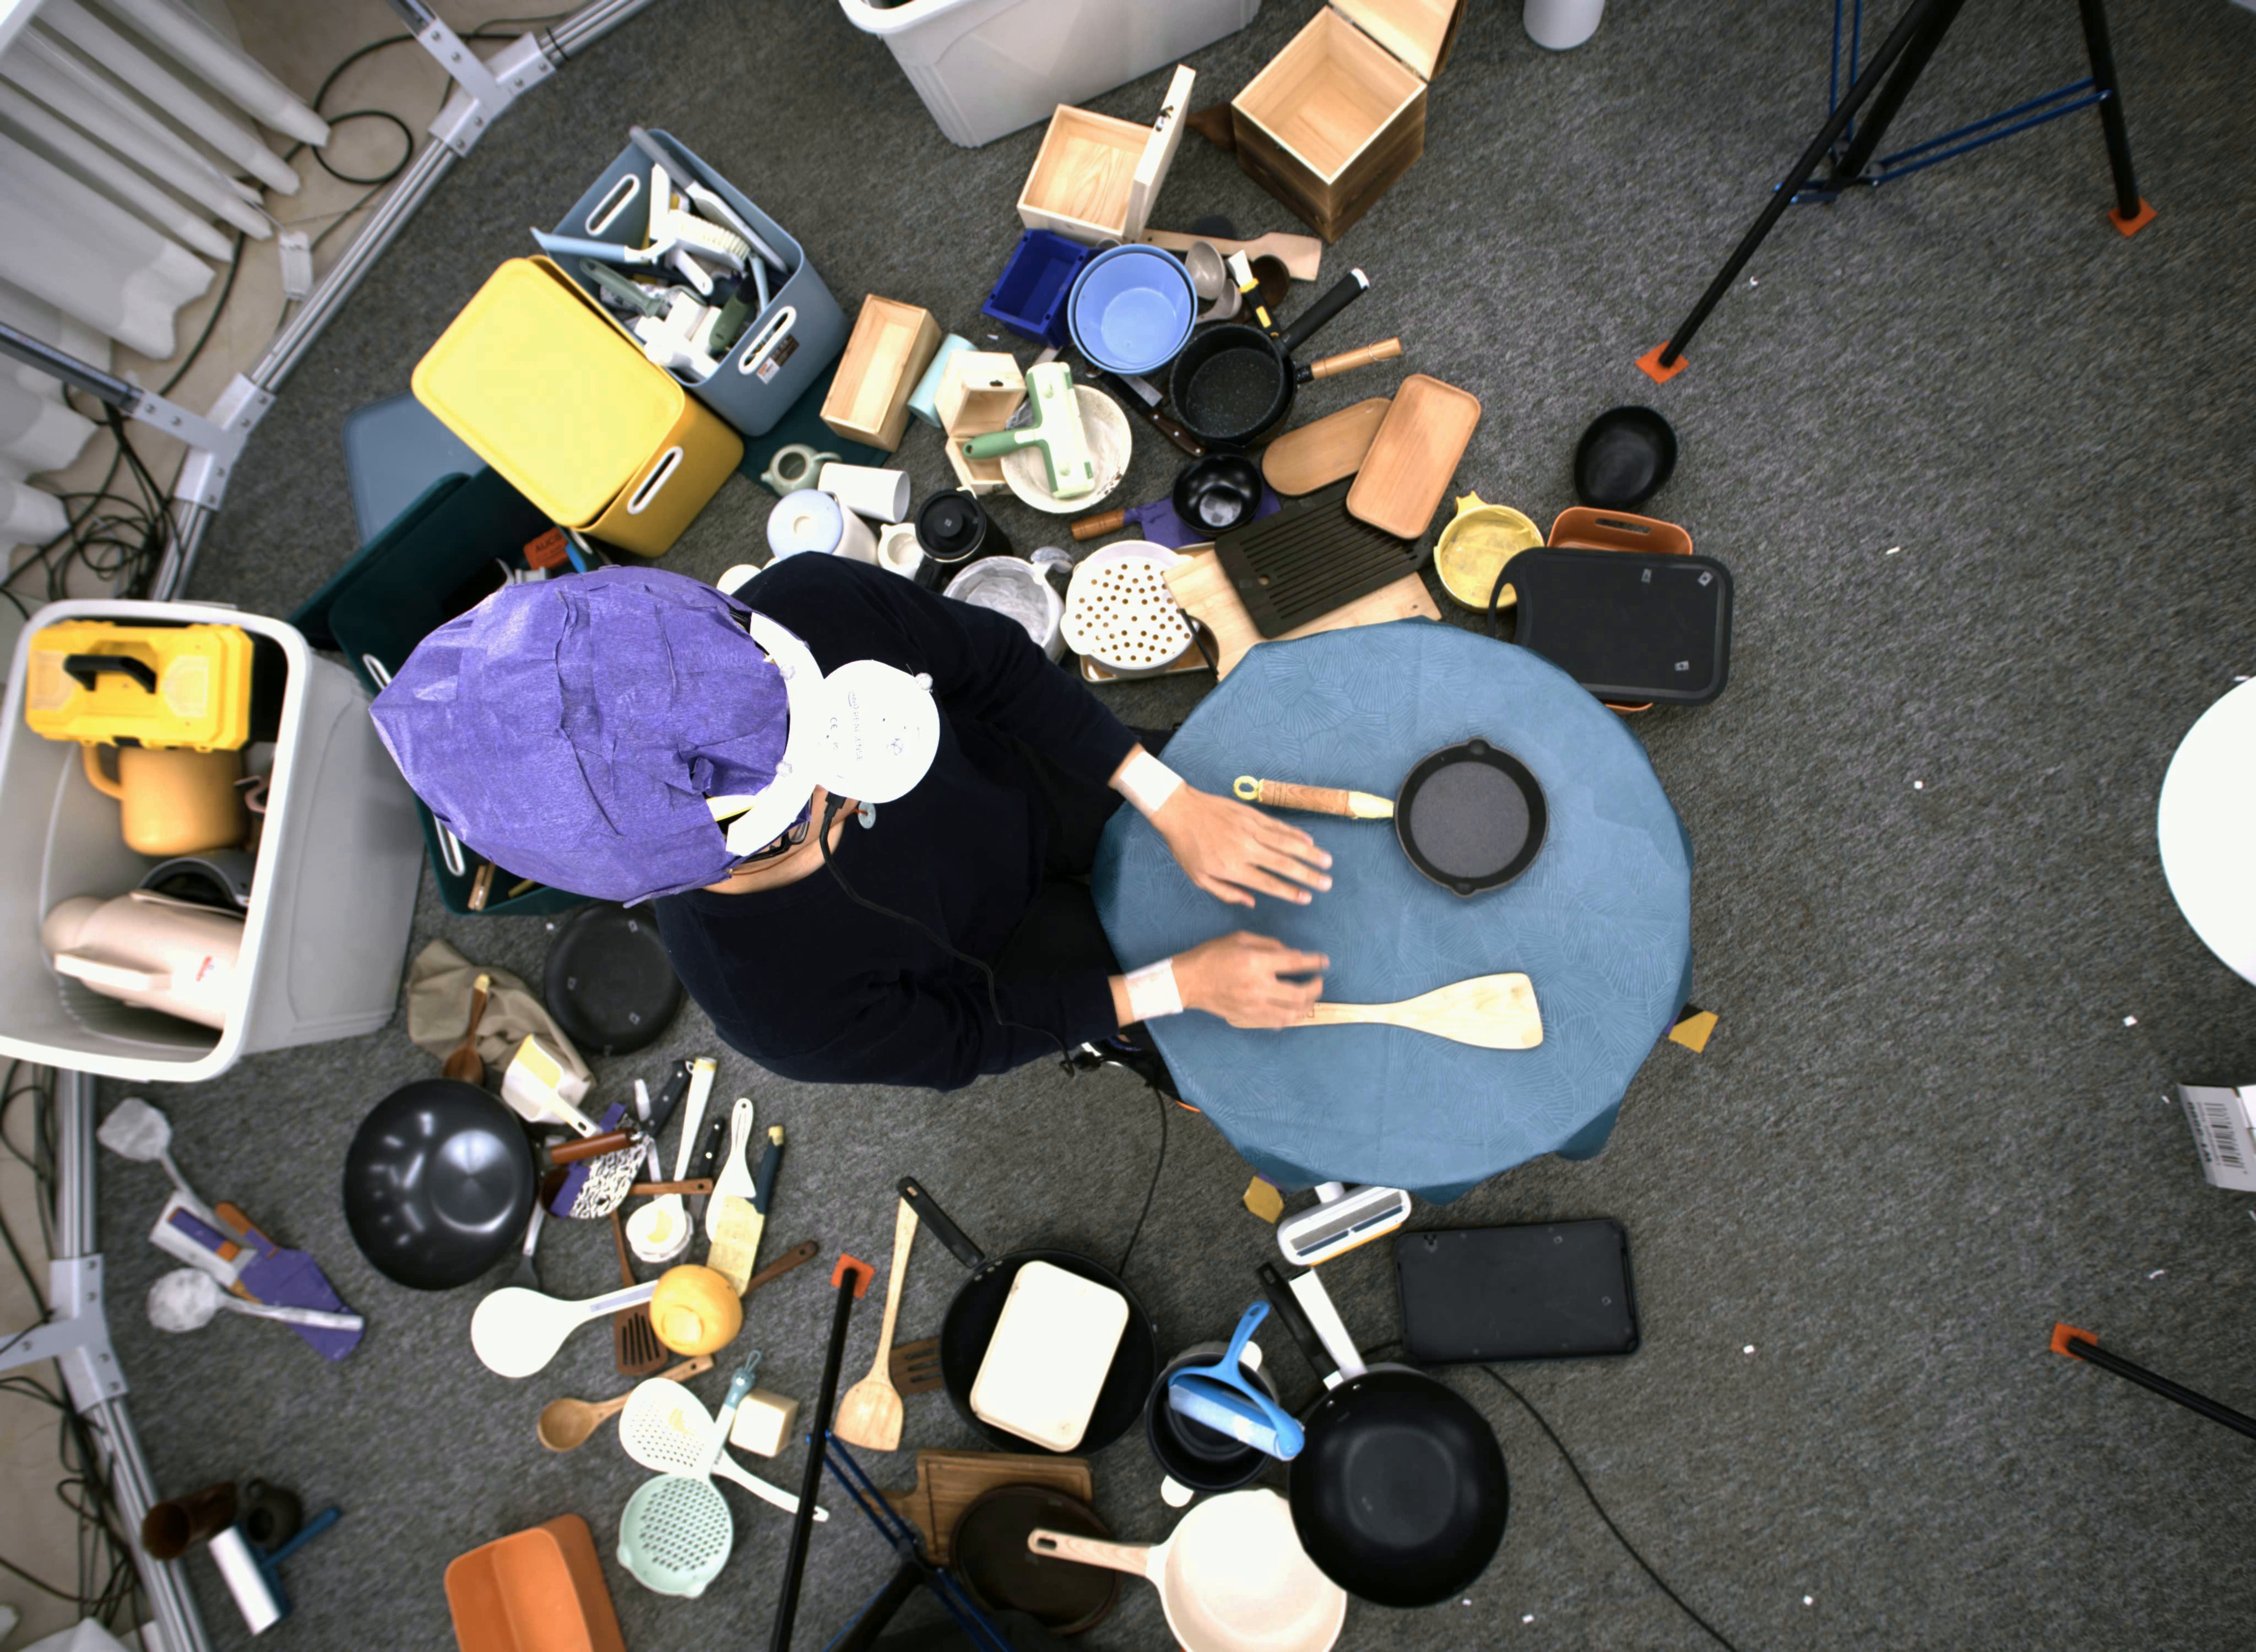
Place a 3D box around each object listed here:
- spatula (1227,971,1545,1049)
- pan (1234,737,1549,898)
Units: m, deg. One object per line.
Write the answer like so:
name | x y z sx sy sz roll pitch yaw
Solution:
spatula | 0.266 0.193 1.446 0.329 0.016 0.079 -2 86 10
pan | 0.273 -0.022 1.439 0.325 0.049 0.168 8 88 9
